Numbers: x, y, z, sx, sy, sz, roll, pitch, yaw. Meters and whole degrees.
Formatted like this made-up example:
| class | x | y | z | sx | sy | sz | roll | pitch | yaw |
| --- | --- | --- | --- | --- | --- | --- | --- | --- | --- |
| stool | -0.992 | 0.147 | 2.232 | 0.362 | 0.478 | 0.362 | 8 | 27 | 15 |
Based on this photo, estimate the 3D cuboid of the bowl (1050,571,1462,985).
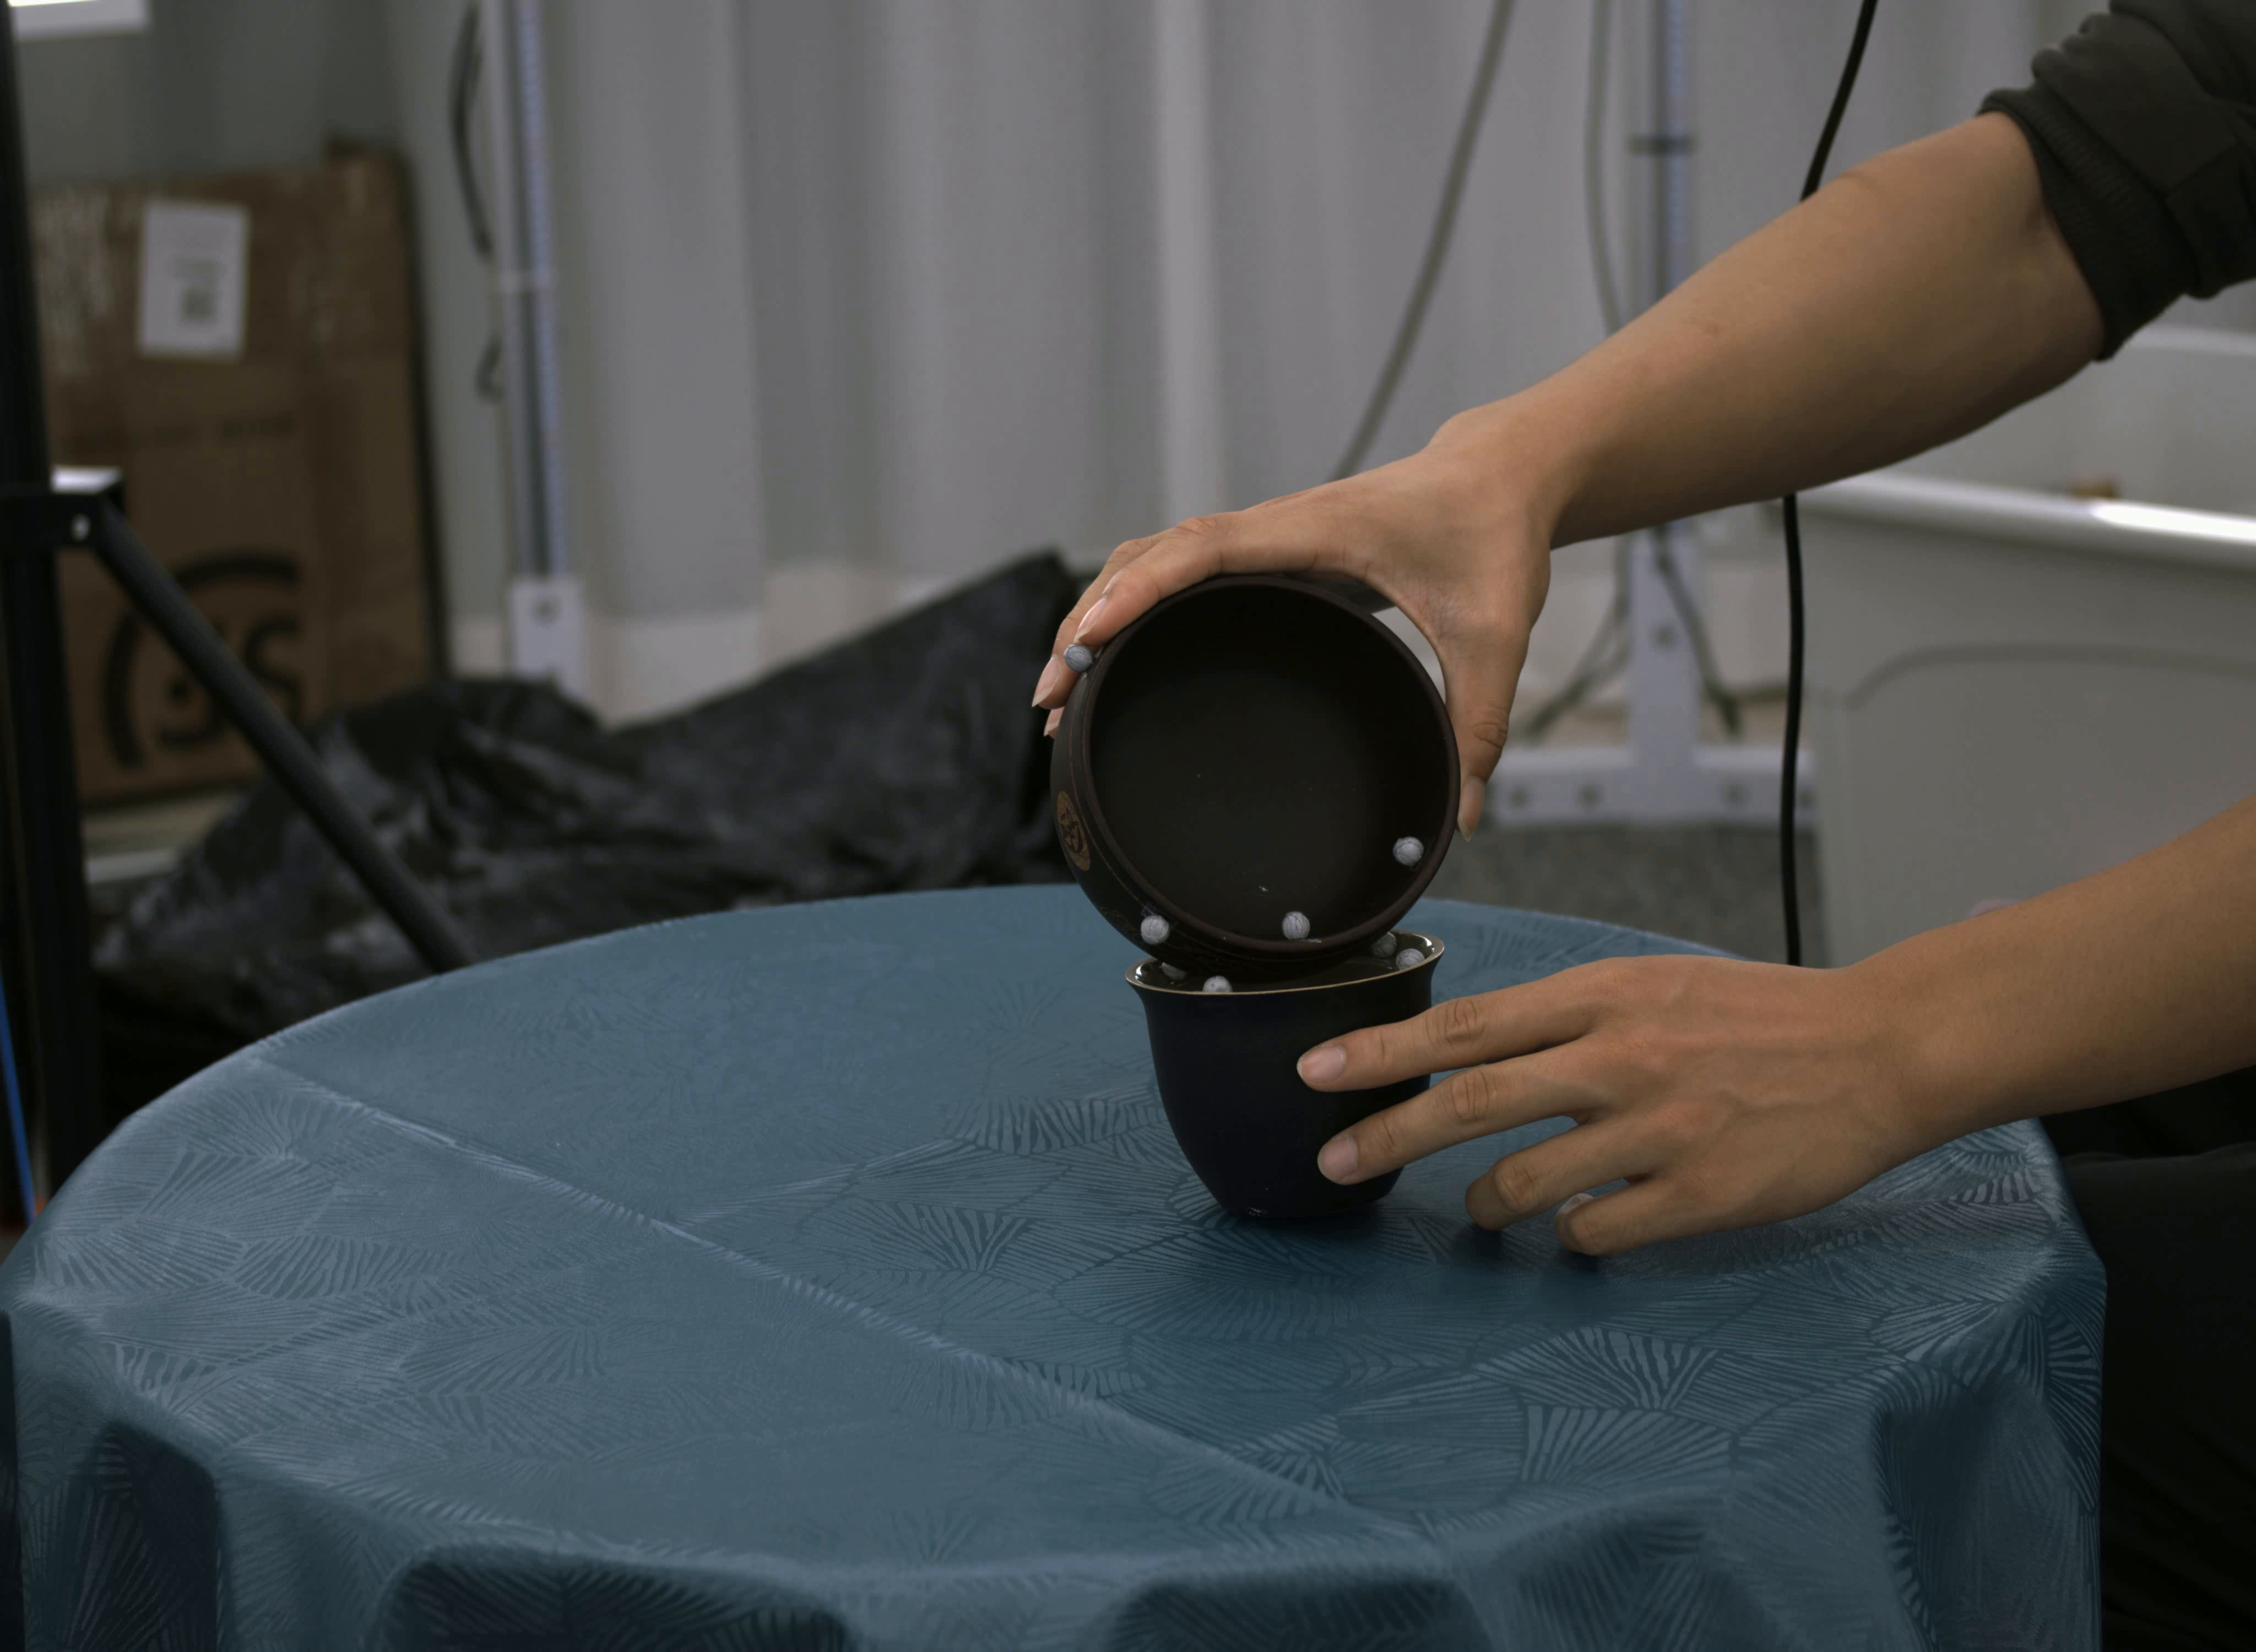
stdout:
| class | x | y | z | sx | sy | sz | roll | pitch | yaw |
| --- | --- | --- | --- | --- | --- | --- | --- | --- | --- |
| bowl | 0.032 | -0.008 | 1.551 | 0.116 | 0.119 | 0.070 | -8 | -18 | -18 |

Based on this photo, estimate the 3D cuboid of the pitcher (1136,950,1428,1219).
| class | x | y | z | sx | sy | sz | roll | pitch | yaw |
| --- | --- | --- | --- | --- | --- | --- | --- | --- | --- |
| pitcher | 0.047 | 0.073 | 1.536 | 0.083 | 0.071 | 0.096 | -10 | 6 | -3 |
